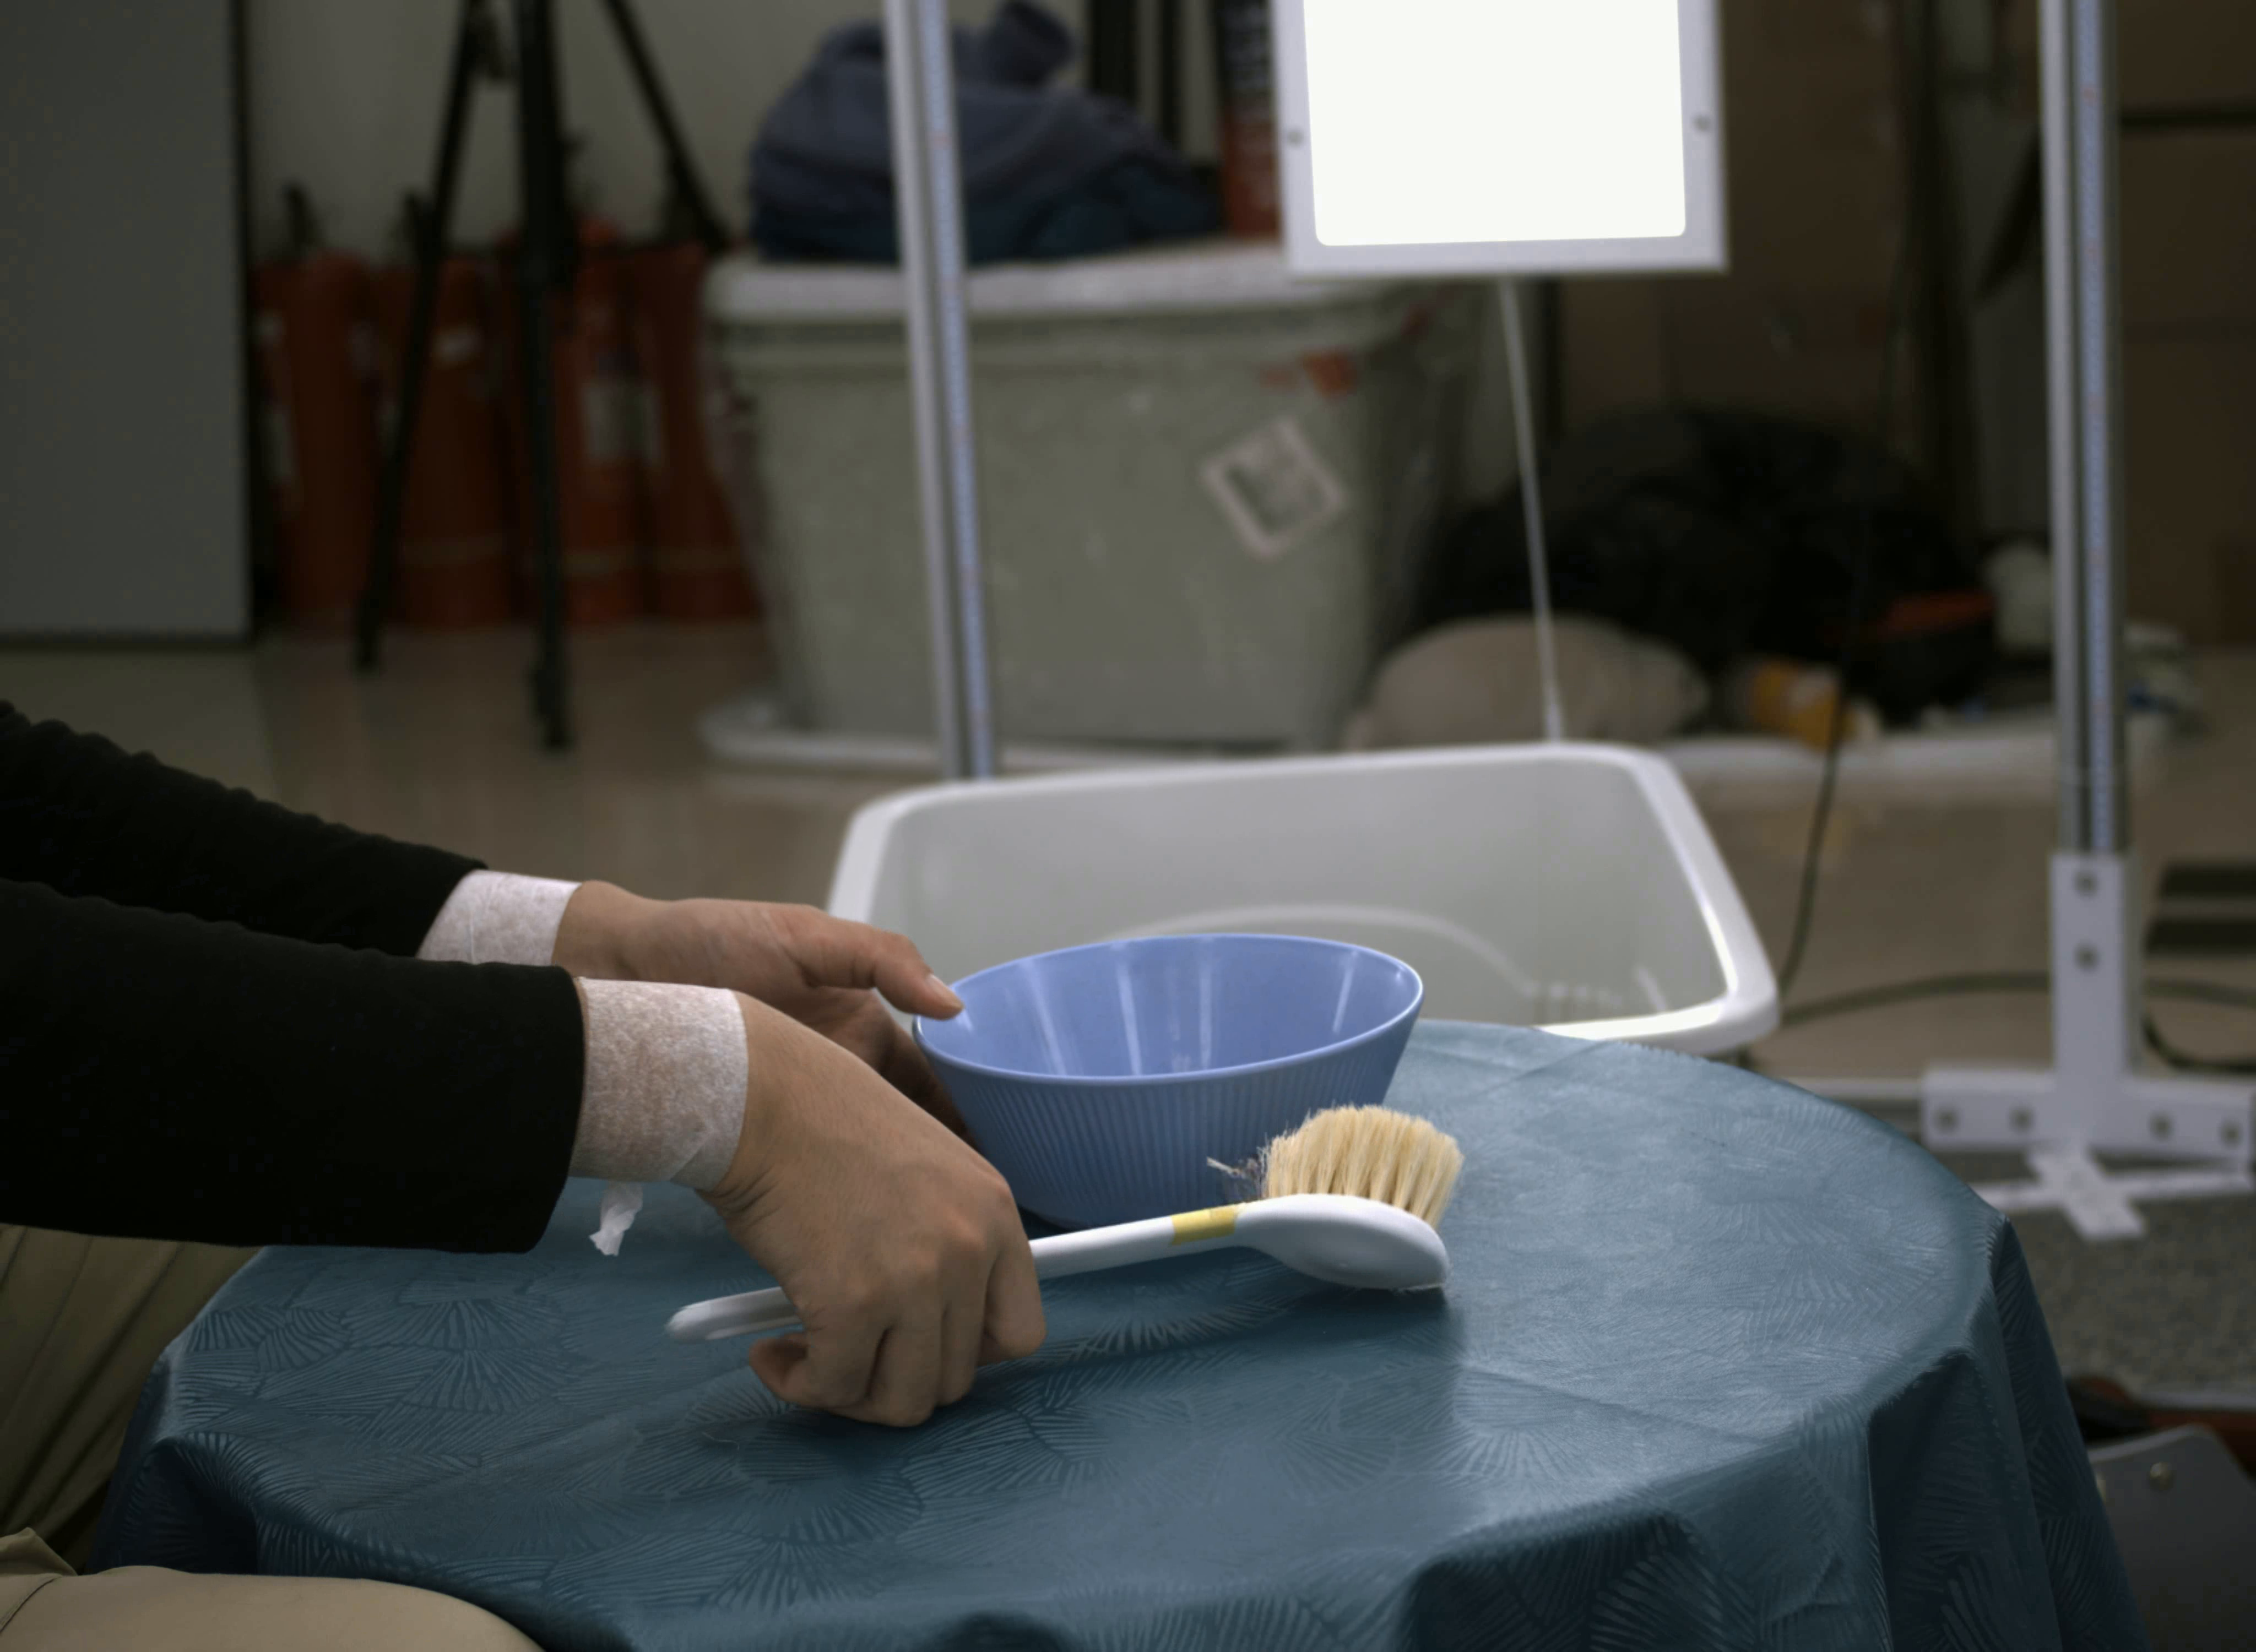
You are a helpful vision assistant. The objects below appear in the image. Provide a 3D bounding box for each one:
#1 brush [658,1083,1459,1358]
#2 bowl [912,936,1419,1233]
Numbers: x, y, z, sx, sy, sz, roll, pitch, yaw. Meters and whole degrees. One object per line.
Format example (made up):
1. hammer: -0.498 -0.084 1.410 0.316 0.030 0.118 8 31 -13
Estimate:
1. brush: -0.021 0.125 1.733 0.263 0.056 0.069 -5 -28 -12
2. bowl: 0.016 0.091 1.885 0.175 0.070 0.176 -6 13 0
